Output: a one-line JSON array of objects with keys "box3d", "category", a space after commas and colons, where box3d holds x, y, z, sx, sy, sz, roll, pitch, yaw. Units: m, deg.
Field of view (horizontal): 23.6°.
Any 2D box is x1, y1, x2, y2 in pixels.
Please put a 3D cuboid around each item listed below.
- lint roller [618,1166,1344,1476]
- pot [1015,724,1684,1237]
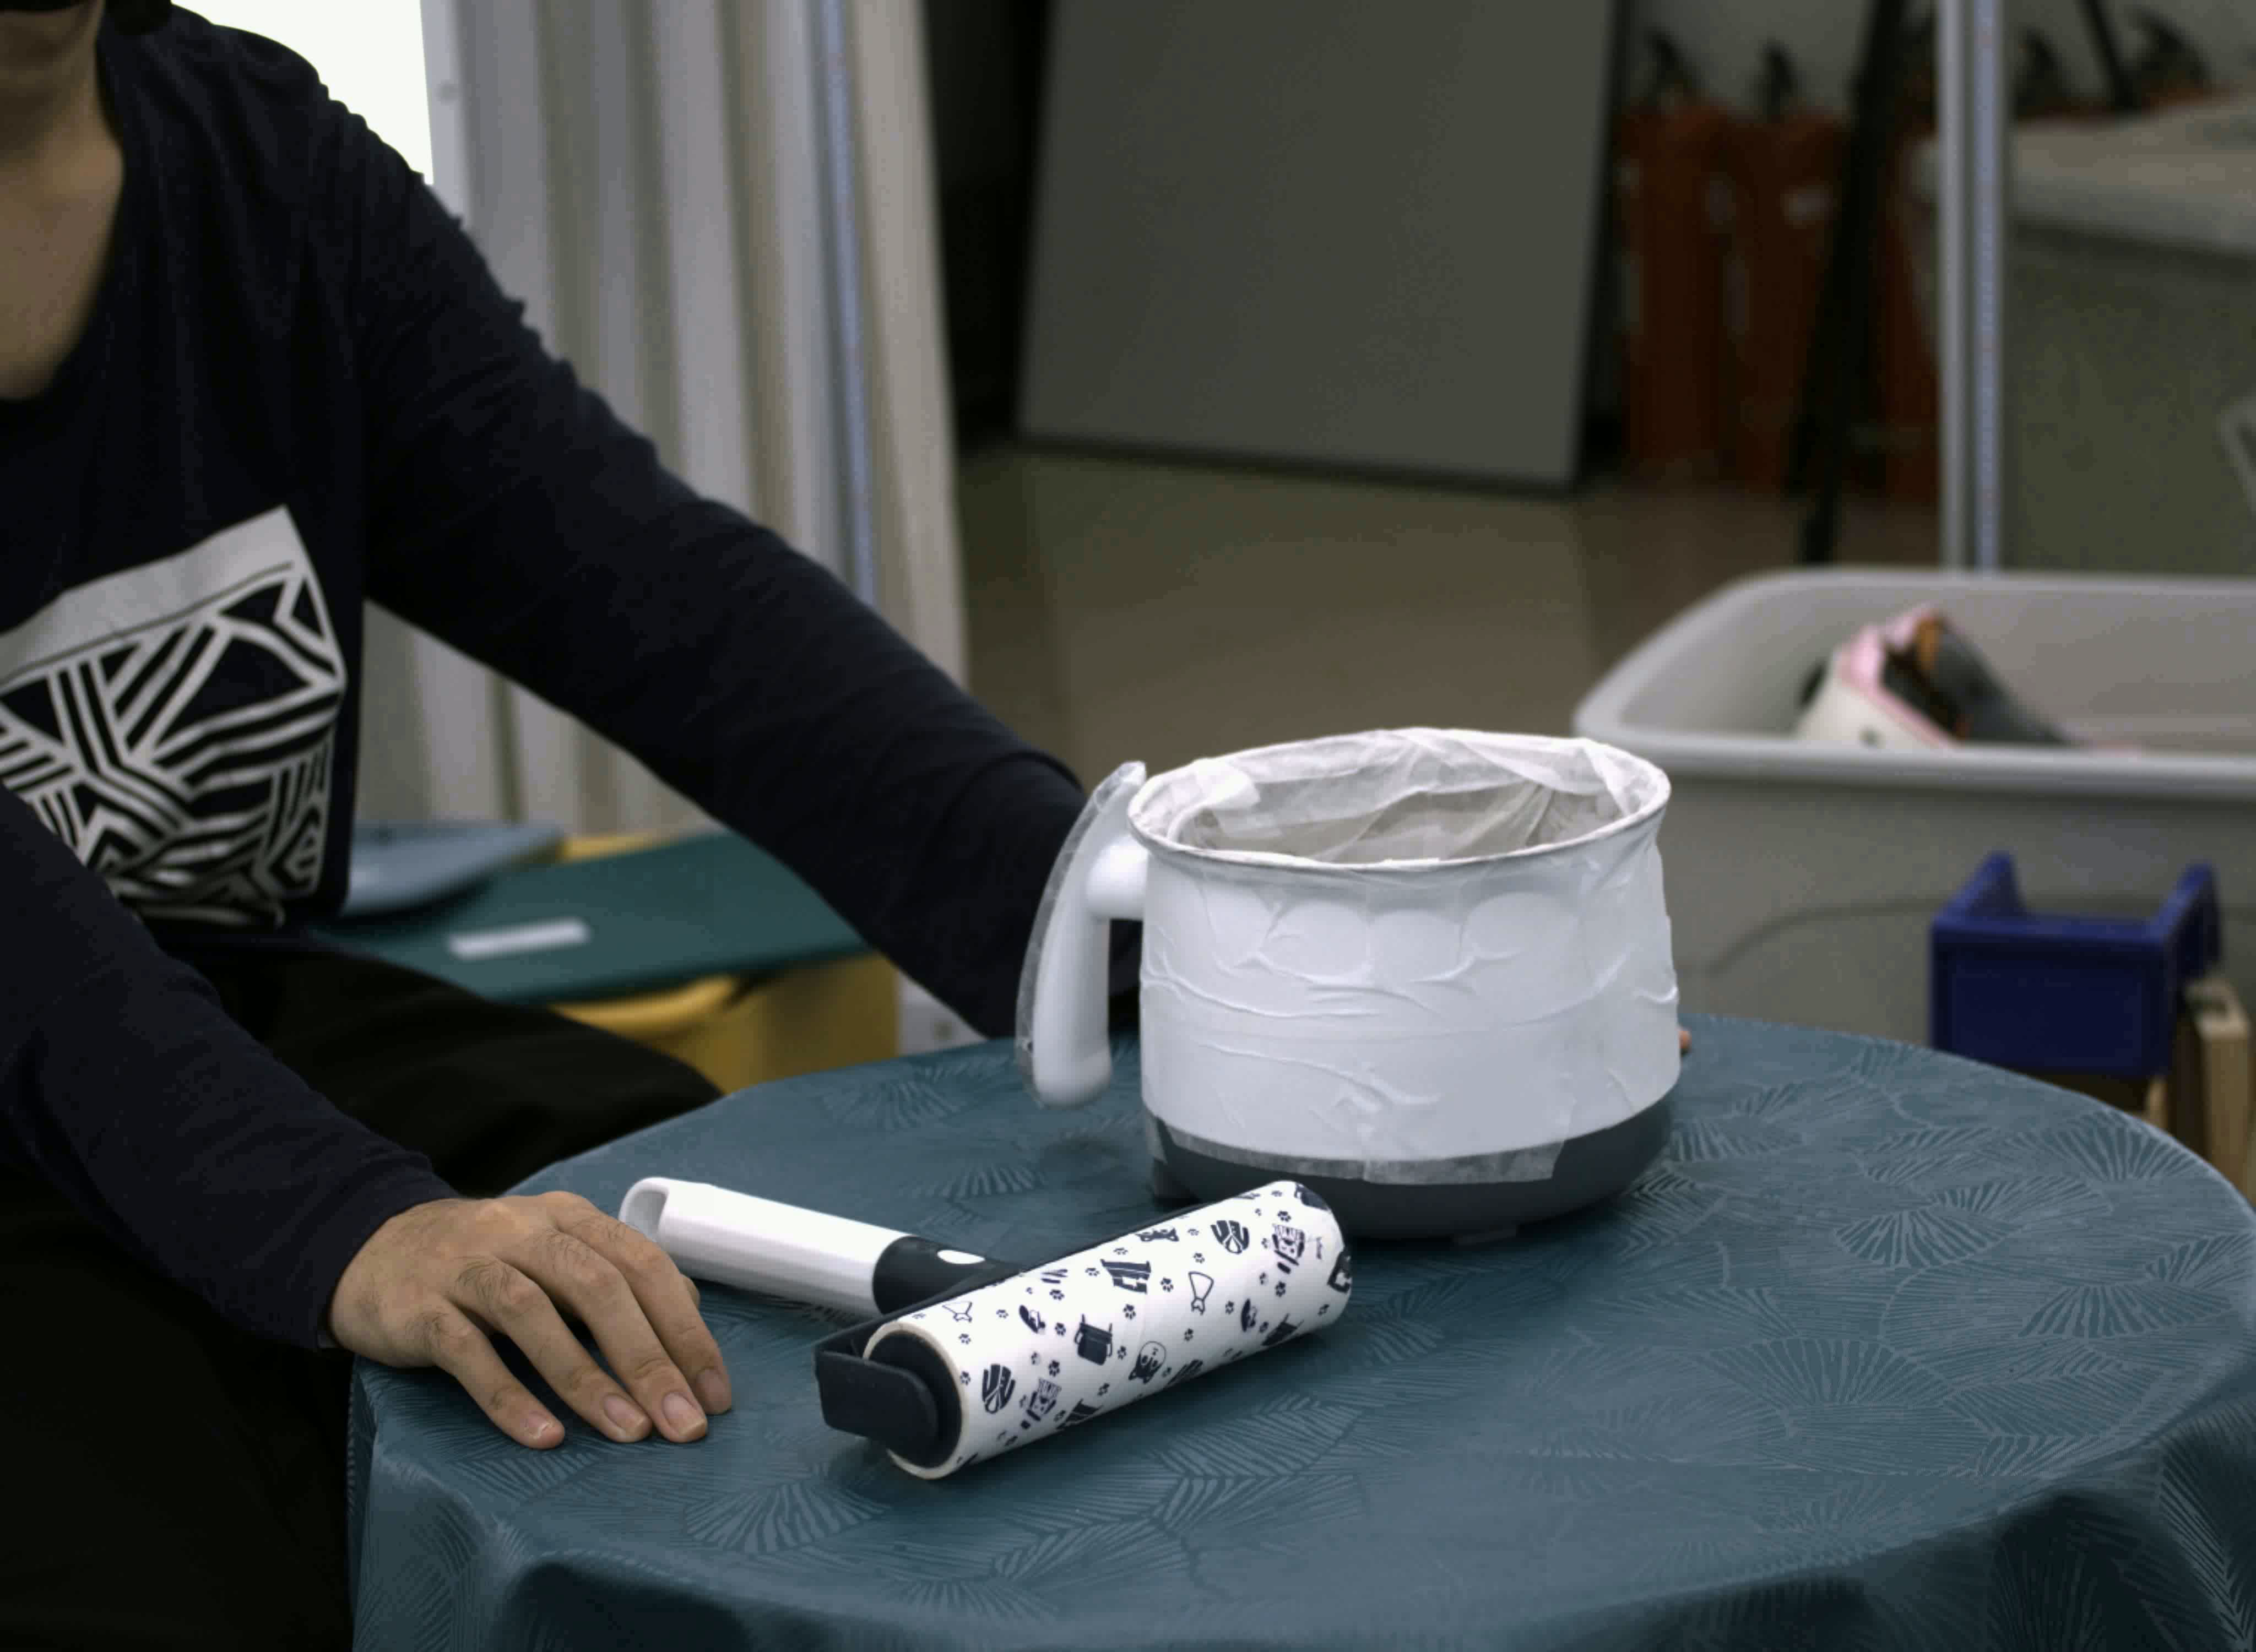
[{"box3d": [-0.076, 0.136, 1.646, 0.172, 0.051, 0.249, -18, 17, -41], "category": "lint roller"}, {"box3d": [0.067, 0.045, 1.759, 0.234, 0.138, 0.176, 6, 13, 28], "category": "pot"}]
